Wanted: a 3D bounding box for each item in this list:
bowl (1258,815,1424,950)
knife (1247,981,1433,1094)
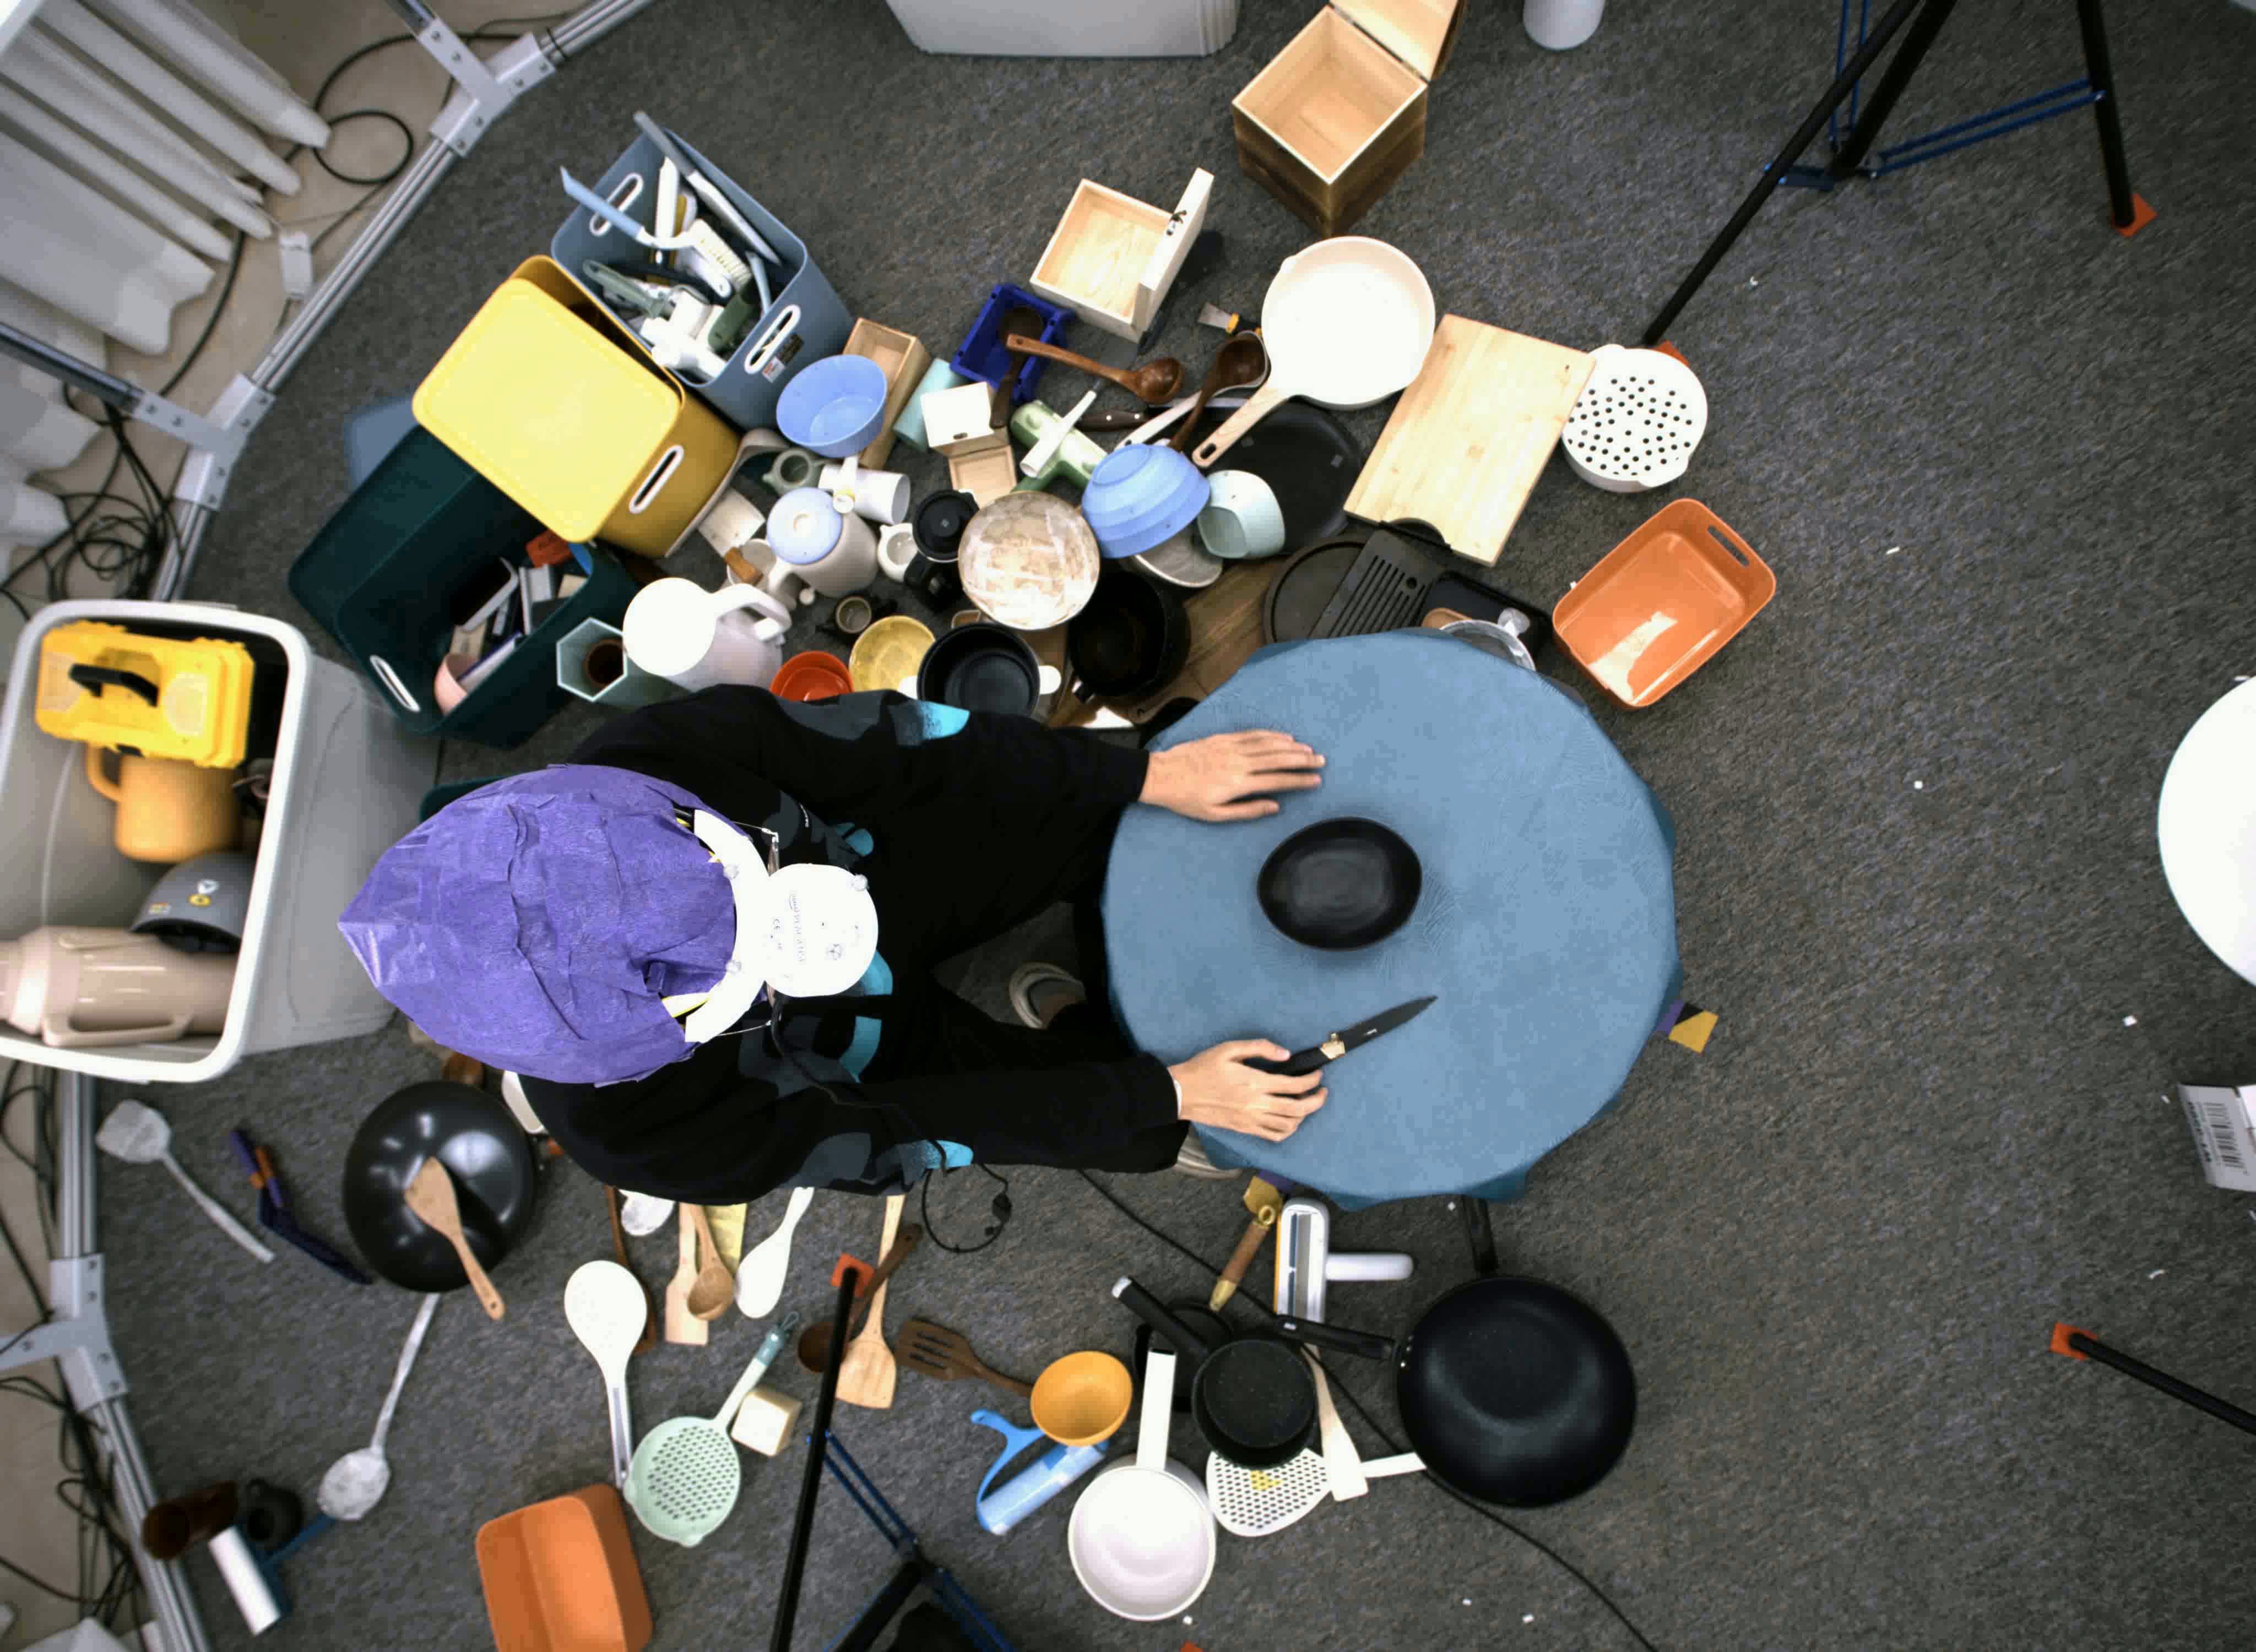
[{"bbox_3d":[0.222,0.061,1.437,0.171,0.067,0.136,-10,84,12],"label":"bowl"},{"bbox_3d":[0.223,0.222,1.454,0.226,0.017,0.026,-29,84,7],"label":"knife"}]
